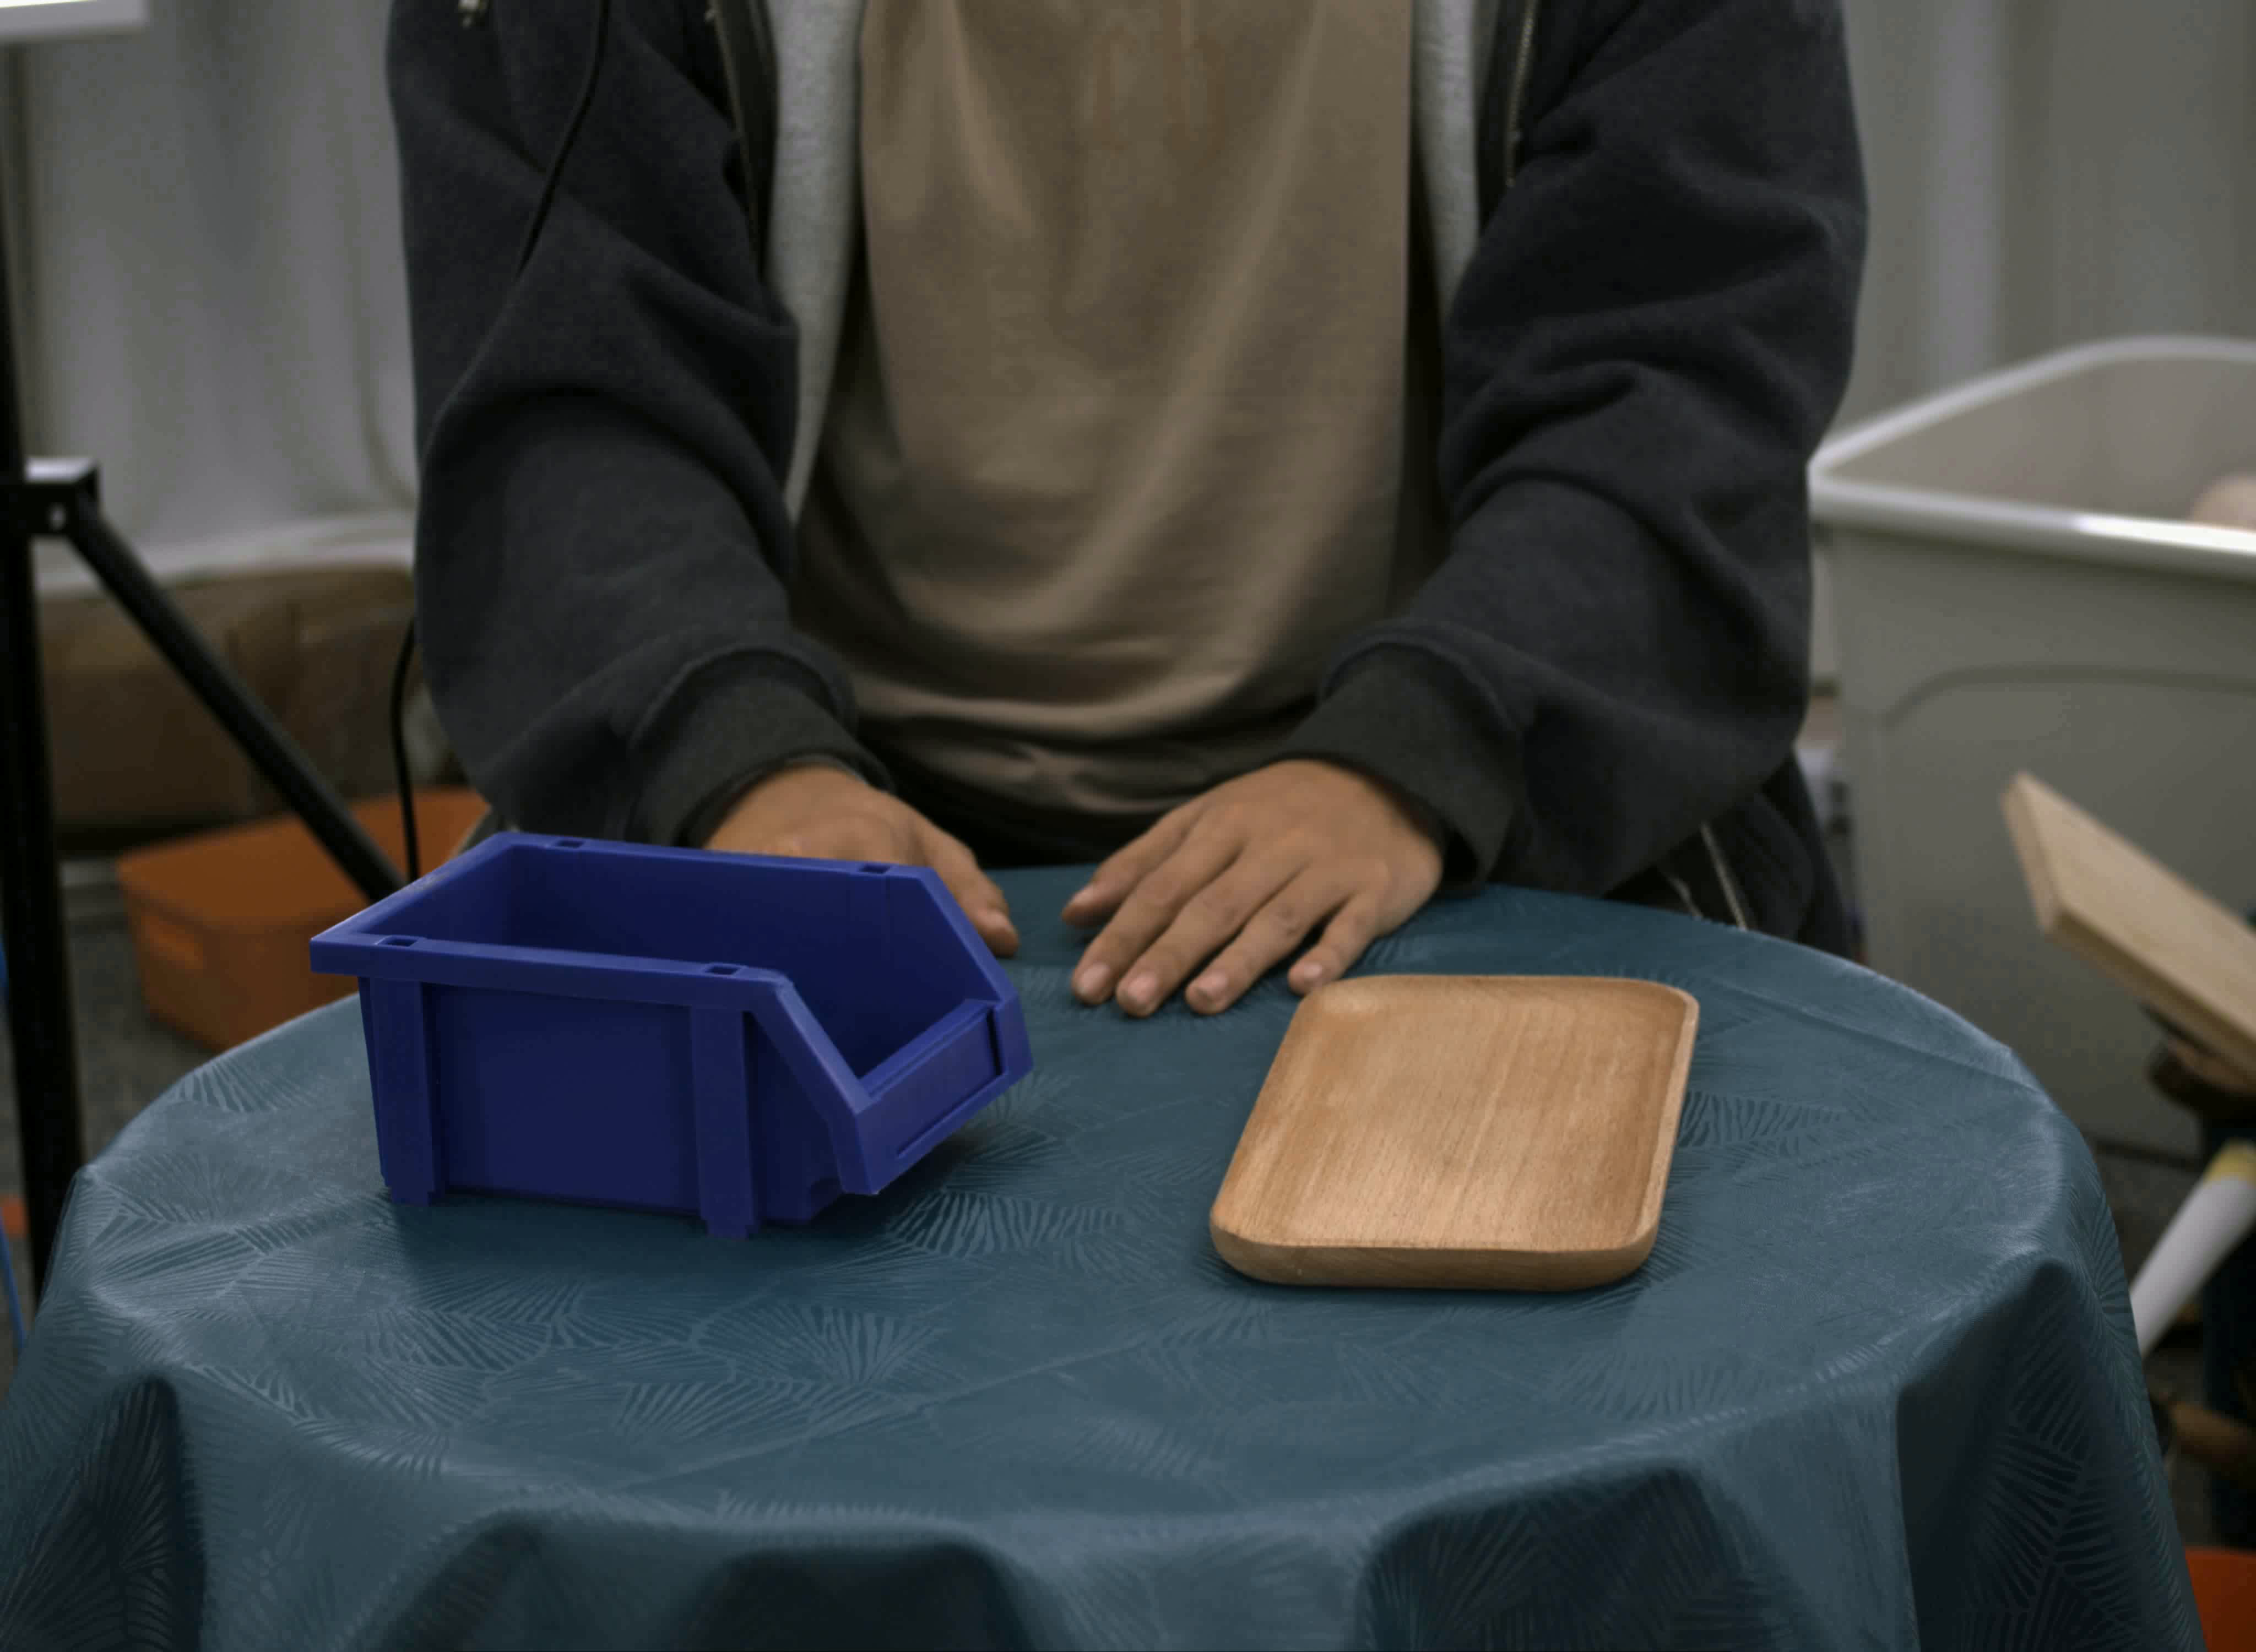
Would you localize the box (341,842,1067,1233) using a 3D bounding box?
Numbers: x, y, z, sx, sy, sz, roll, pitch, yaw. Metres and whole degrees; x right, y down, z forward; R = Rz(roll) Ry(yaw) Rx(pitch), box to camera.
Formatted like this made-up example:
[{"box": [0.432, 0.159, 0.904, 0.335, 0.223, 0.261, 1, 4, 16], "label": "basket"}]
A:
[{"box": [-0.123, 0.061, 1.596, 0.182, 0.082, 0.122, 1, 15, 26], "label": "box"}]

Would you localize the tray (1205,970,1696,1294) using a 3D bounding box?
[{"box": [0.100, 0.089, 1.580, 0.131, 0.023, 0.249, 3, 16, 10], "label": "tray"}]
